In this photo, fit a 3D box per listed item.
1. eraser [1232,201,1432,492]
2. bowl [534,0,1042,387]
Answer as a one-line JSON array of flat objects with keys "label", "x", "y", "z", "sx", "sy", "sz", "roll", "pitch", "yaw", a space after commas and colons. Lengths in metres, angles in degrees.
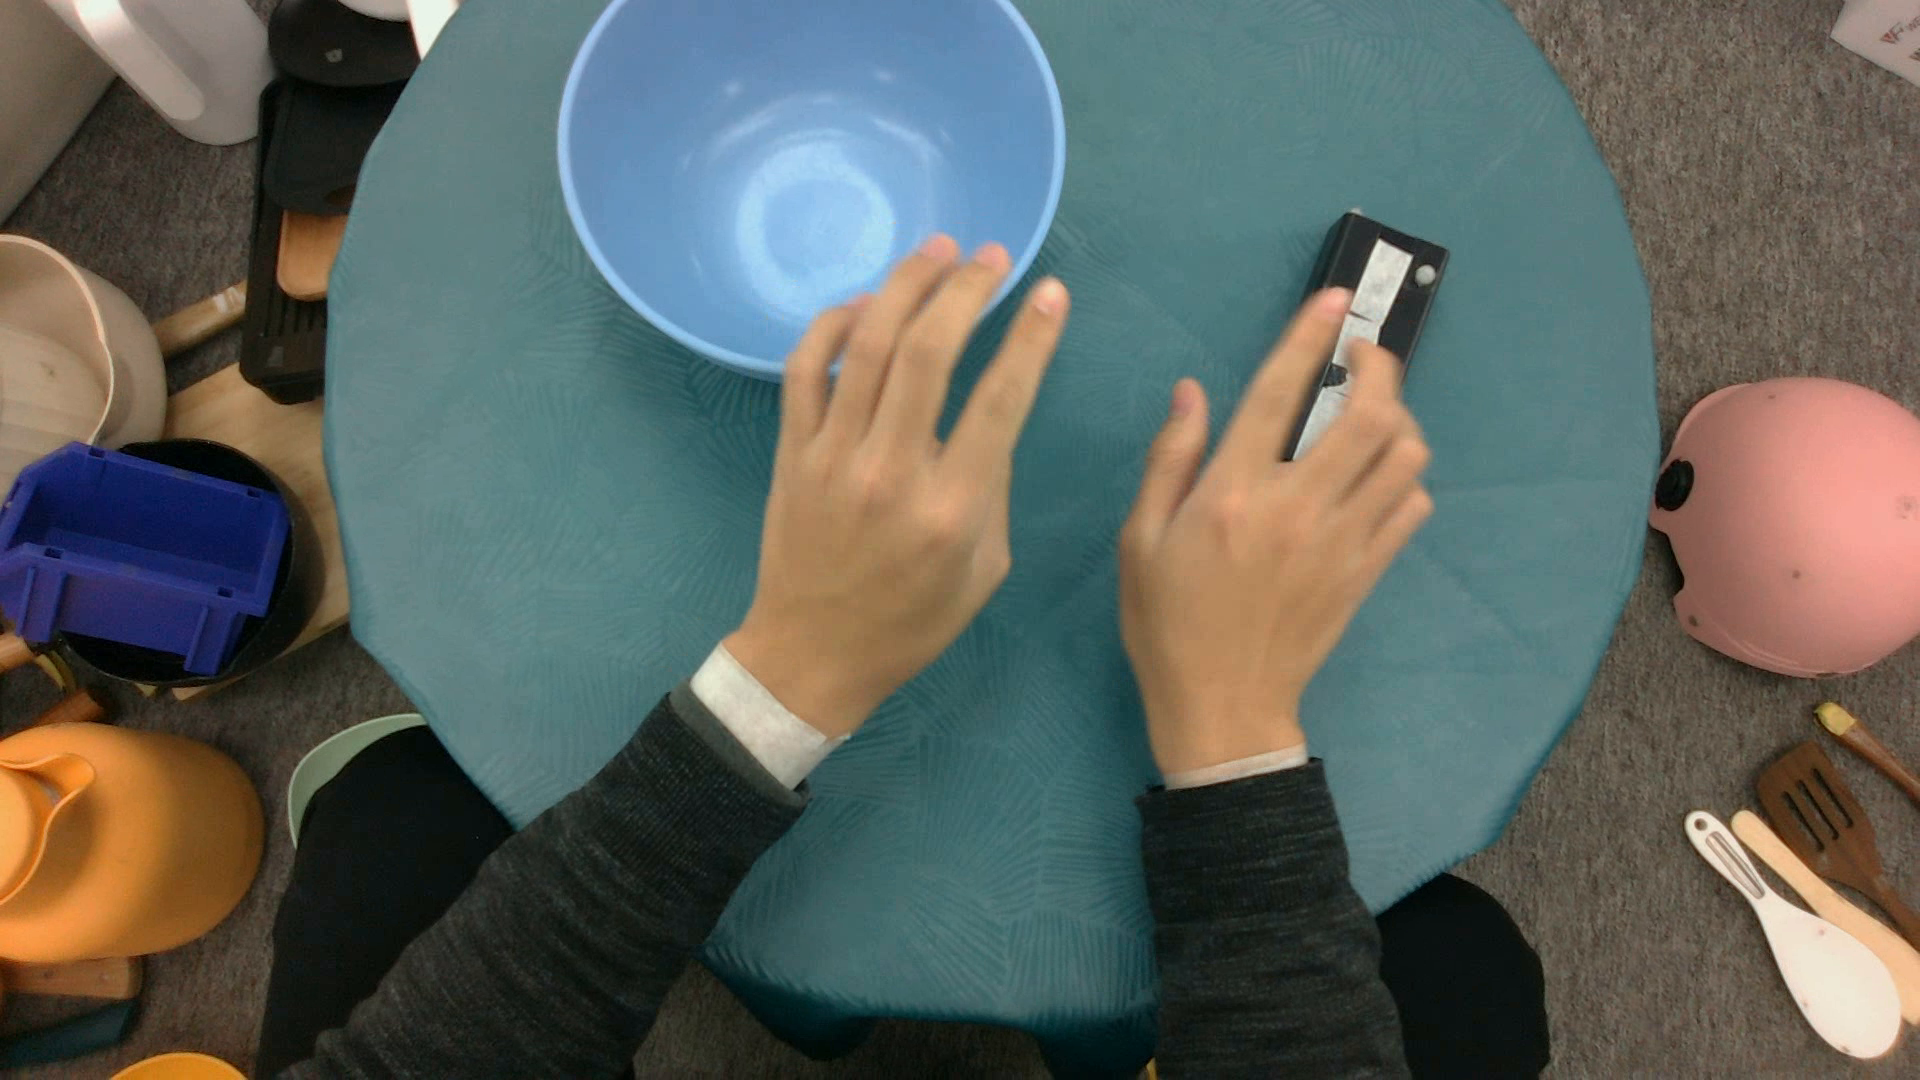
[{"label": "eraser", "x": 0.166, "y": -0.087, "z": 0.615, "sx": 0.053, "sy": 0.030, "sz": 0.126, "roll": 21, "pitch": 77, "yaw": 3}, {"label": "bowl", "x": -0.071, "y": -0.146, "z": 0.578, "sx": 0.196, "sy": 0.095, "sz": 0.197, "roll": 2, "pitch": 75, "yaw": -9}]
